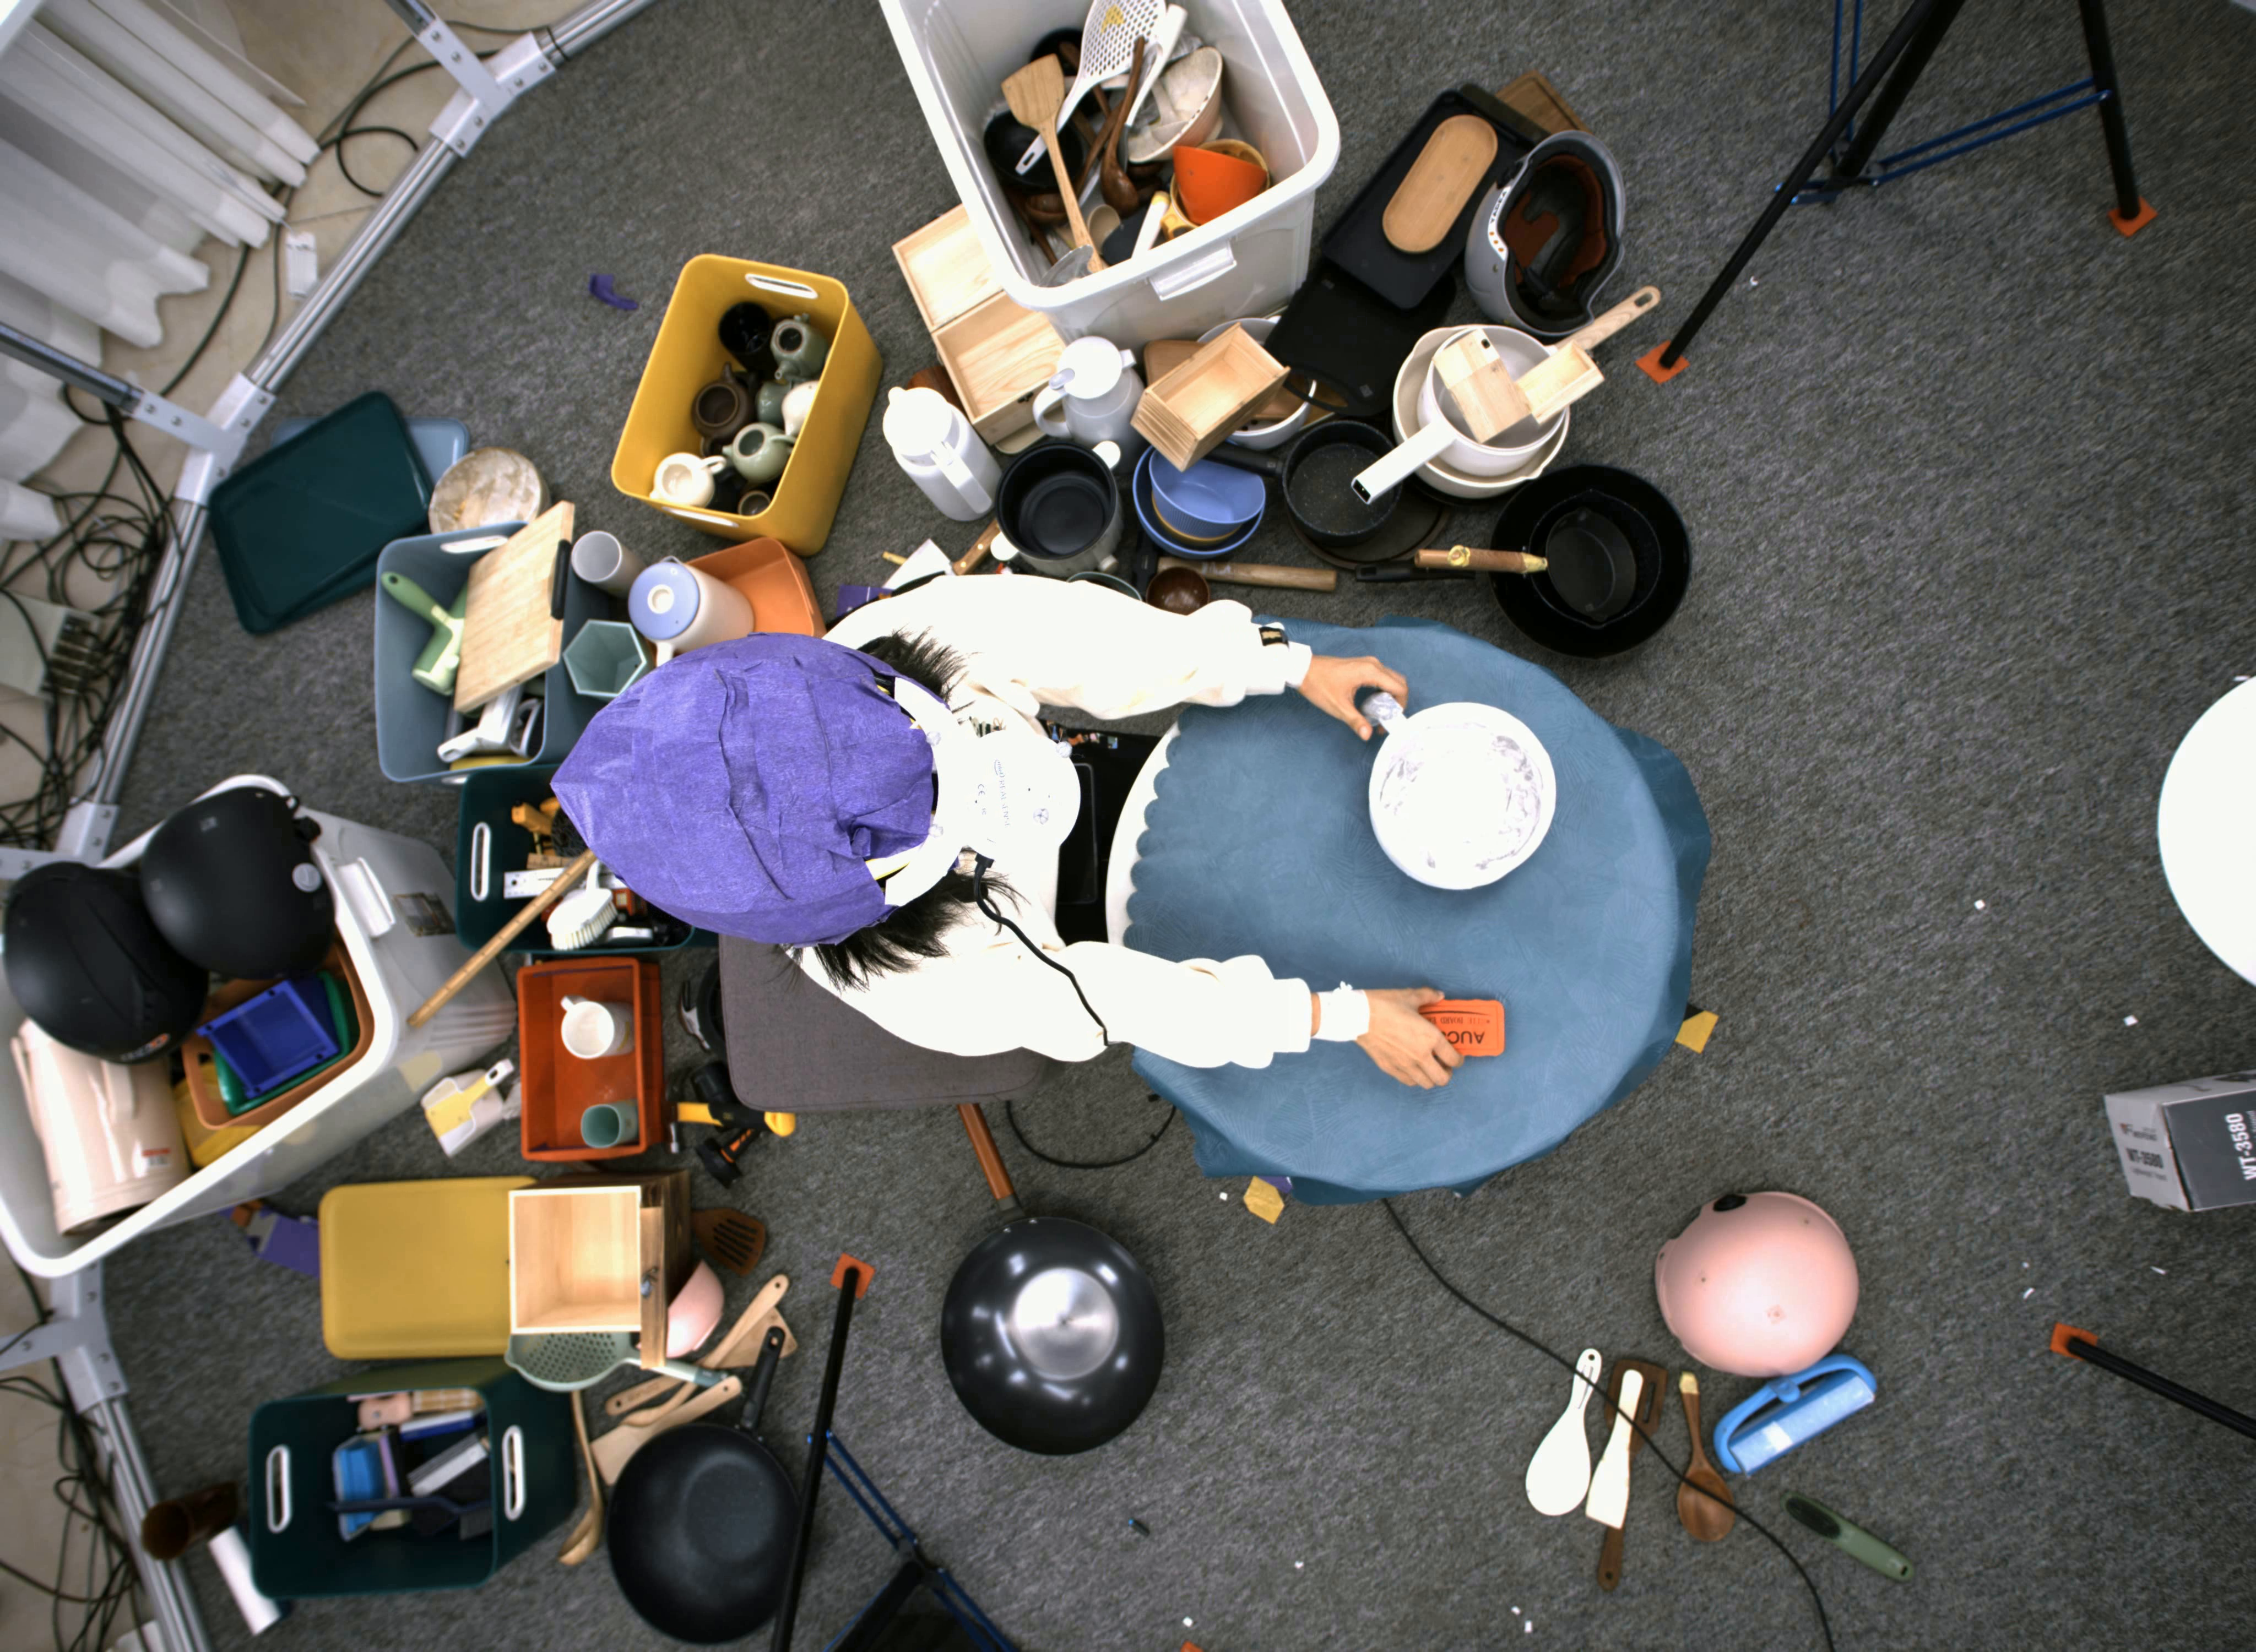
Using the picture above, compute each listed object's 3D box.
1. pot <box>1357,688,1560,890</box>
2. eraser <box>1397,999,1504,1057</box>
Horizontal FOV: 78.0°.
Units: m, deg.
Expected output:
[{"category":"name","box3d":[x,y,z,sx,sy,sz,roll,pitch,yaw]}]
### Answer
[{"category":"pot","box3d":[0.316,-0.048,1.386,0.179,0.137,0.232,-41,82,3]},{"category":"eraser","box3d":[0.334,0.207,1.429,0.108,0.023,0.058,-1,81,11]}]
